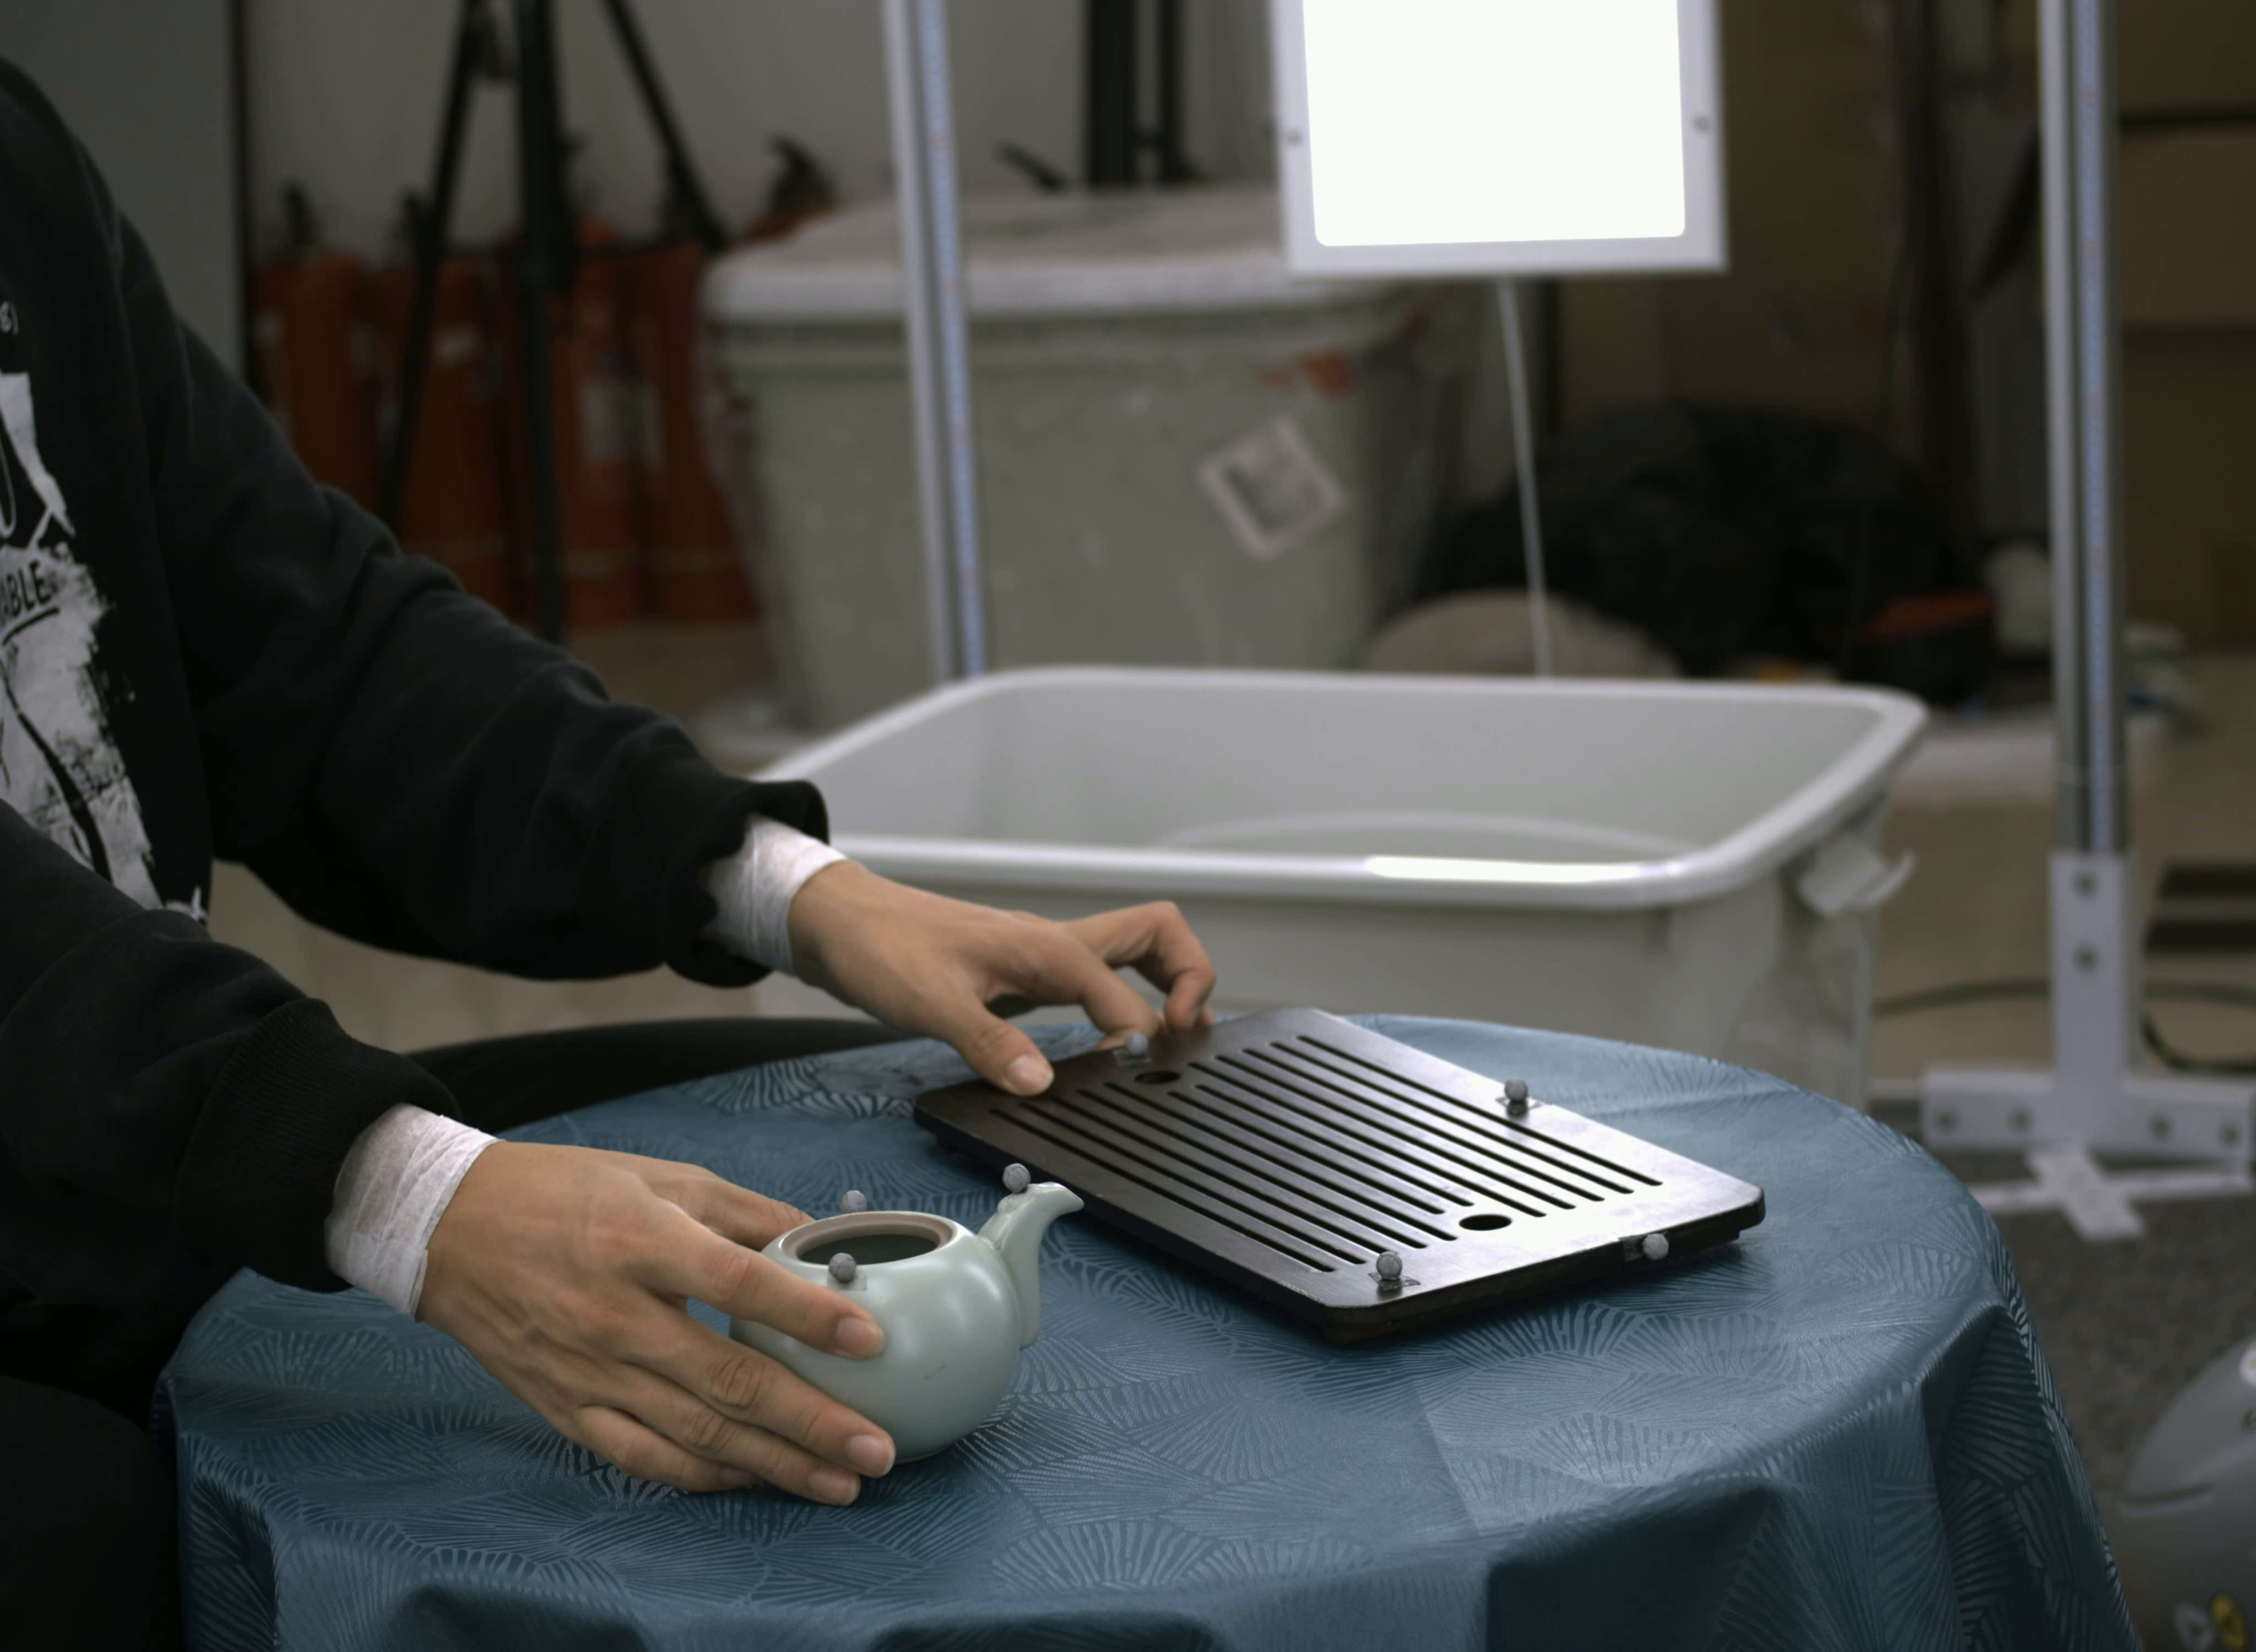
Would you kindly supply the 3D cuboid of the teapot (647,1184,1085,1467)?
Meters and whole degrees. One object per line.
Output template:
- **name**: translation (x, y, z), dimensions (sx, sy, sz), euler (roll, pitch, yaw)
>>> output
- **teapot**: translation (-0.077, 0.152, 1.667), dimensions (0.141, 0.075, 0.089), euler (-7, 13, -22)

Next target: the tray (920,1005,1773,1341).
- **tray**: translation (0.069, 0.115, 1.878), dimensions (0.166, 0.019, 0.311), euler (-13, 16, -26)
